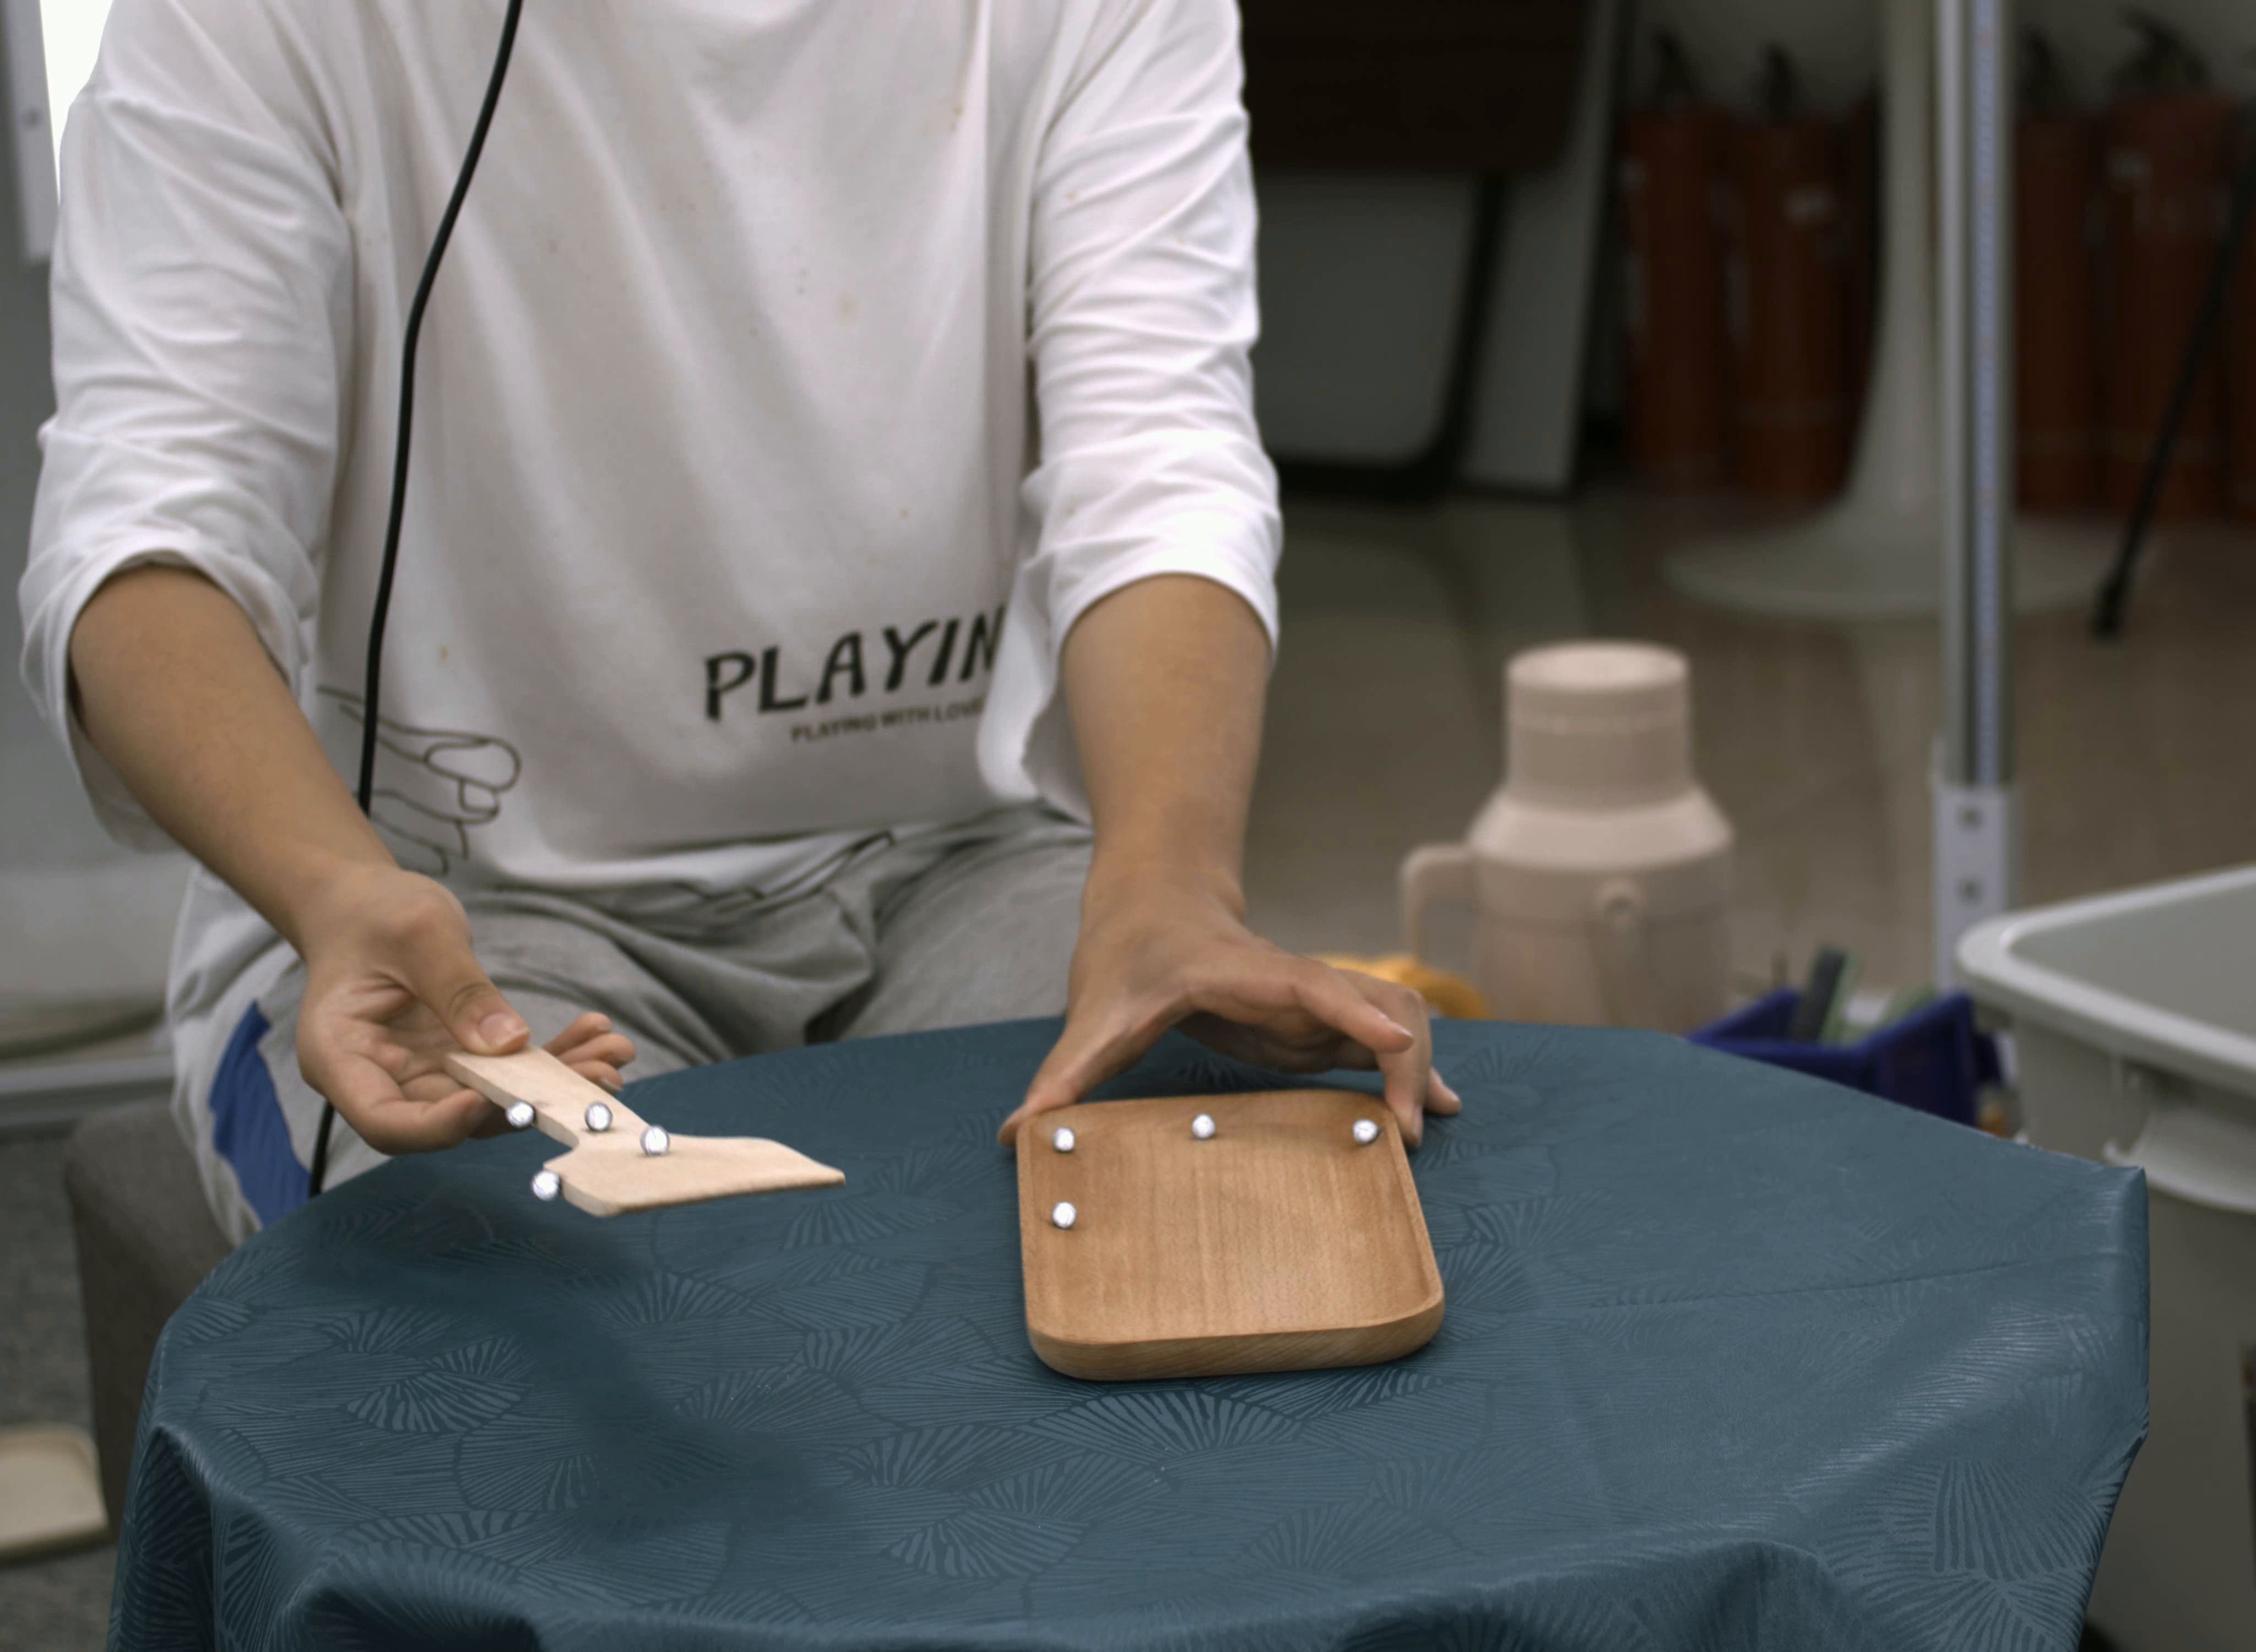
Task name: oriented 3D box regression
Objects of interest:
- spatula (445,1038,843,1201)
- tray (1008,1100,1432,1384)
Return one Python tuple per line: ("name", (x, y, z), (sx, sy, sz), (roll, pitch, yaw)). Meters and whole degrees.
("spatula", (-0.162, 0.087, 1.633), (0.071, 0.011, 0.295), (-7, 7, -20))
("tray", (0.028, 0.129, 1.705), (0.129, 0.023, 0.251), (-6, 14, 2))
